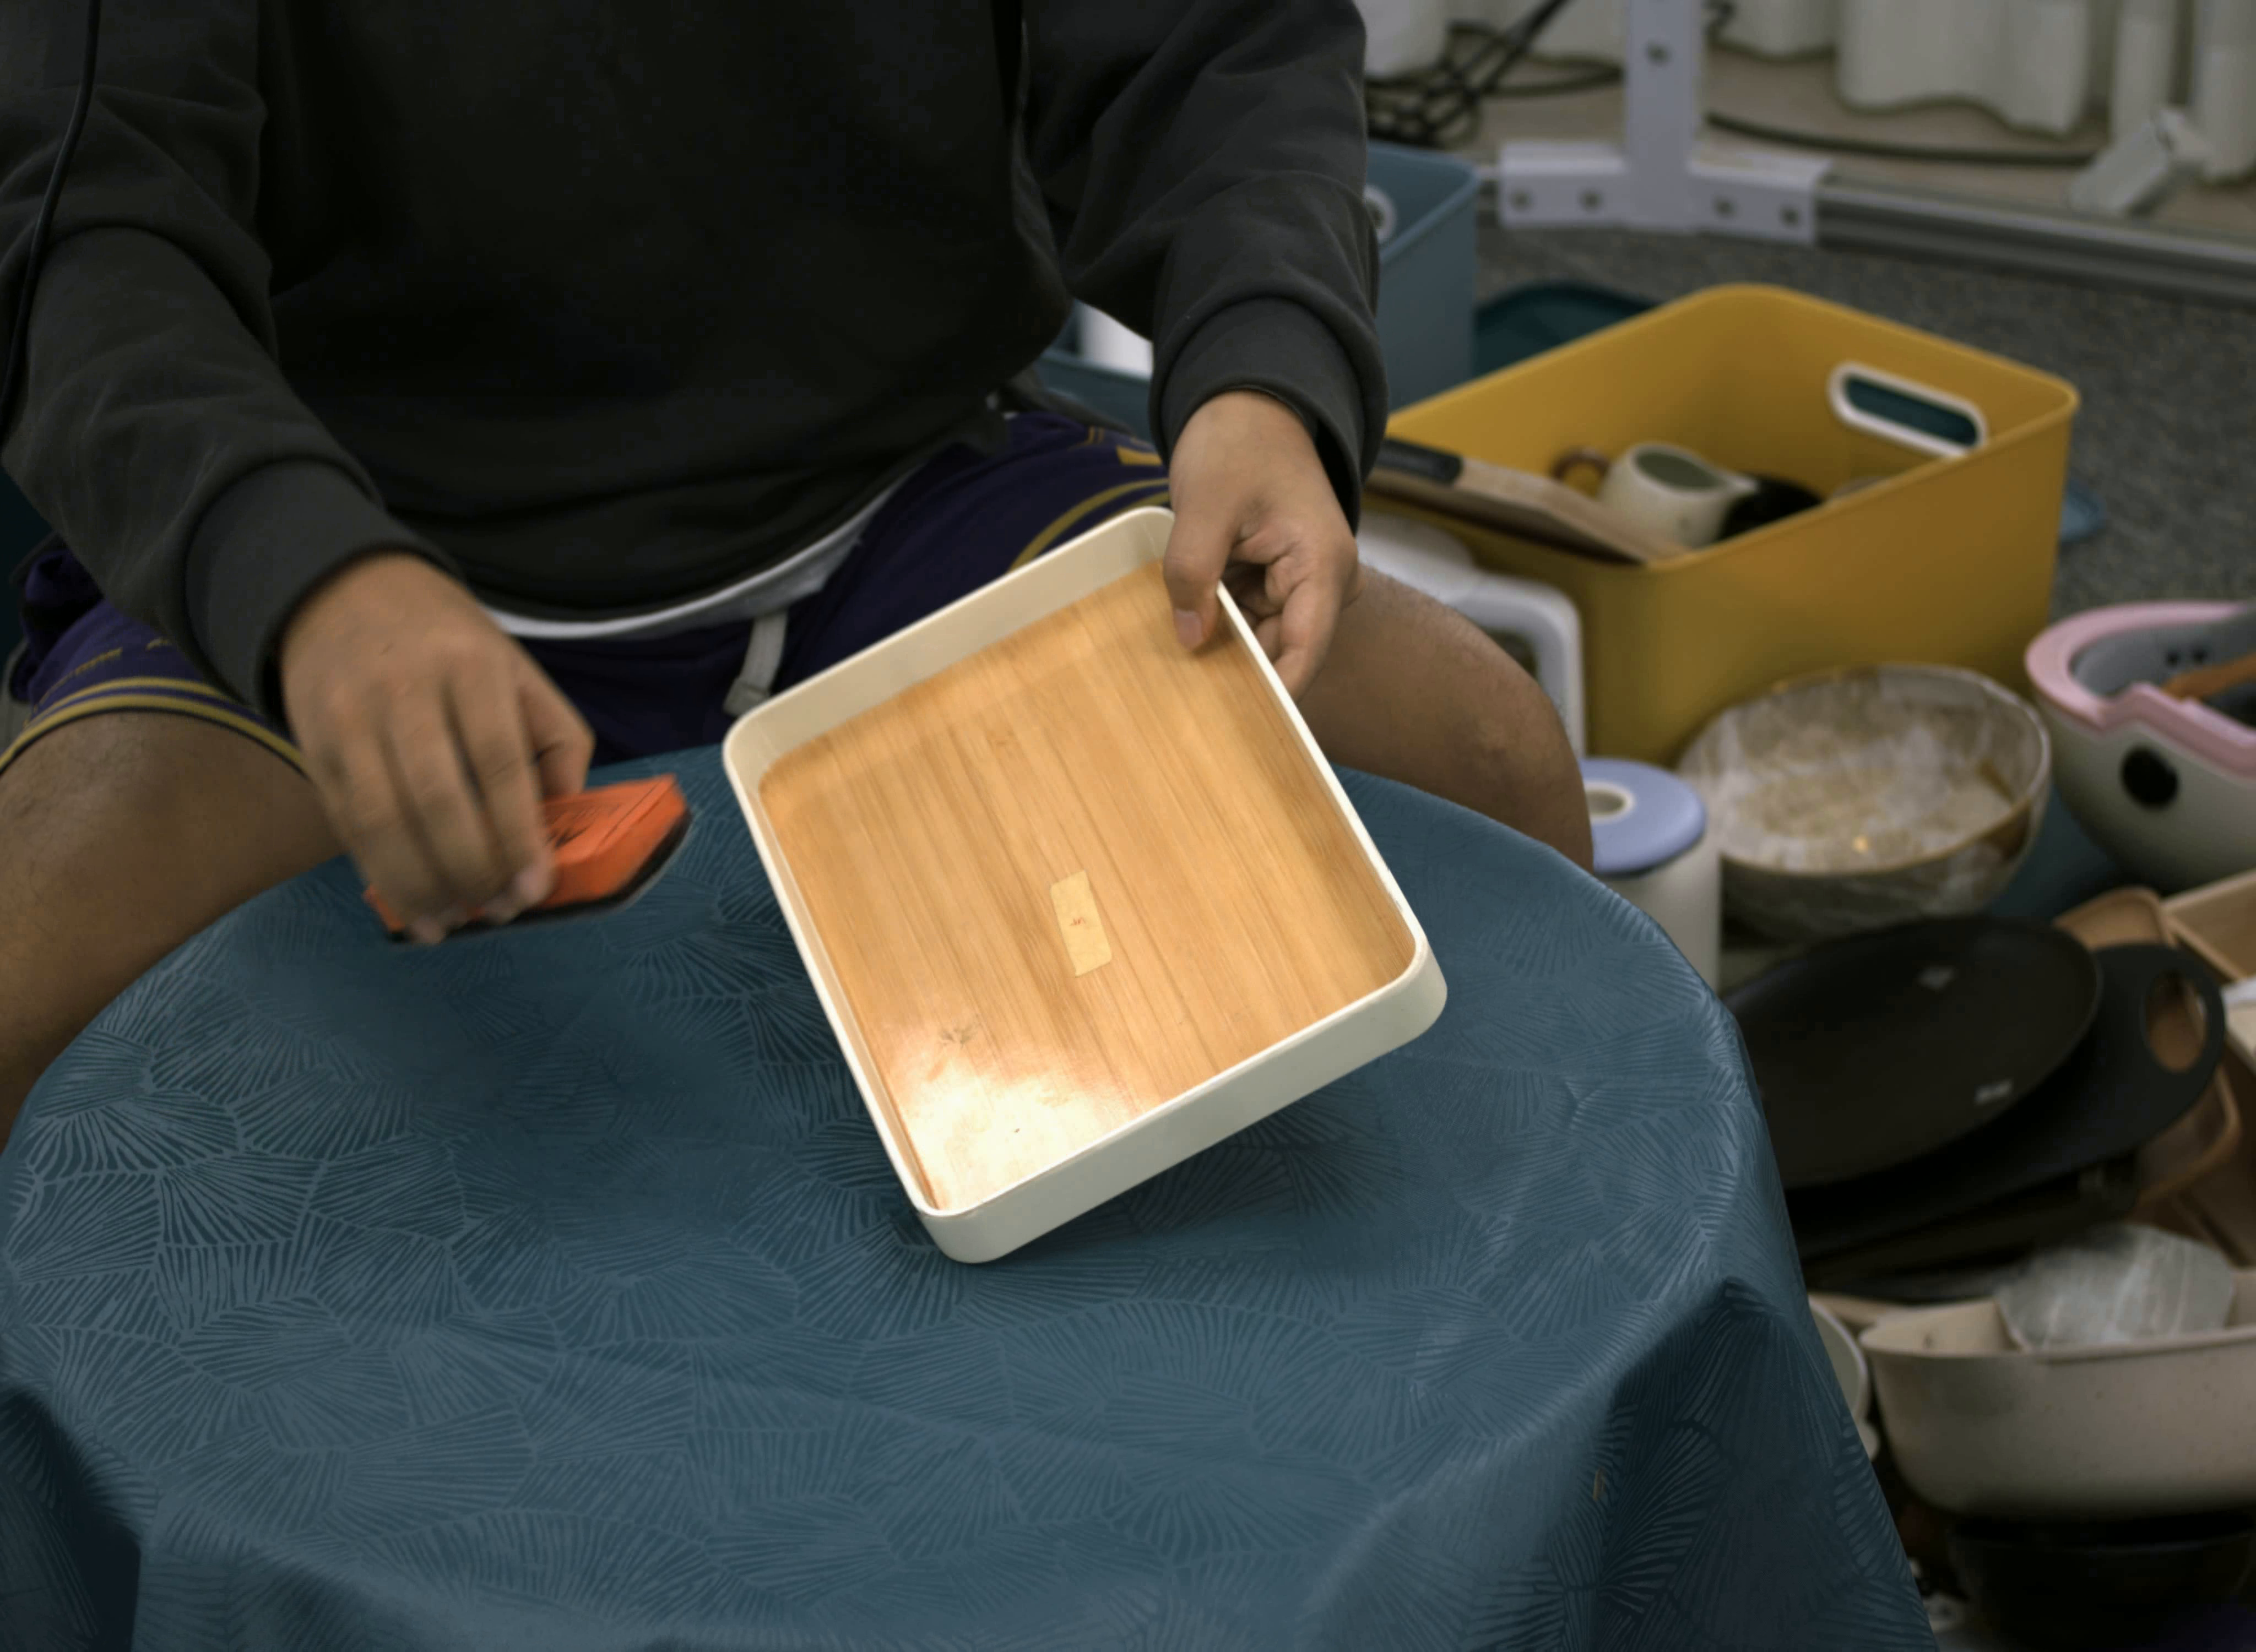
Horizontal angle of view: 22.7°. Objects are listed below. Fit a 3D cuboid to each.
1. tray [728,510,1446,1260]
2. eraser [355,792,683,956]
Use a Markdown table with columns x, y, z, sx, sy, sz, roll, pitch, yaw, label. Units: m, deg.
| x | y | z | sx | sy | sz | roll | pitch | yaw | label |
| --- | --- | --- | --- | --- | --- | --- | --- | --- | --- |
| -0.020 | 0.014 | 1.934 | 0.191 | 0.027 | 0.304 | -27 | 38 | 0 | tray |
| -0.205 | 0.017 | 1.892 | 0.107 | 0.023 | 0.060 | -8 | 24 | 35 | eraser |
